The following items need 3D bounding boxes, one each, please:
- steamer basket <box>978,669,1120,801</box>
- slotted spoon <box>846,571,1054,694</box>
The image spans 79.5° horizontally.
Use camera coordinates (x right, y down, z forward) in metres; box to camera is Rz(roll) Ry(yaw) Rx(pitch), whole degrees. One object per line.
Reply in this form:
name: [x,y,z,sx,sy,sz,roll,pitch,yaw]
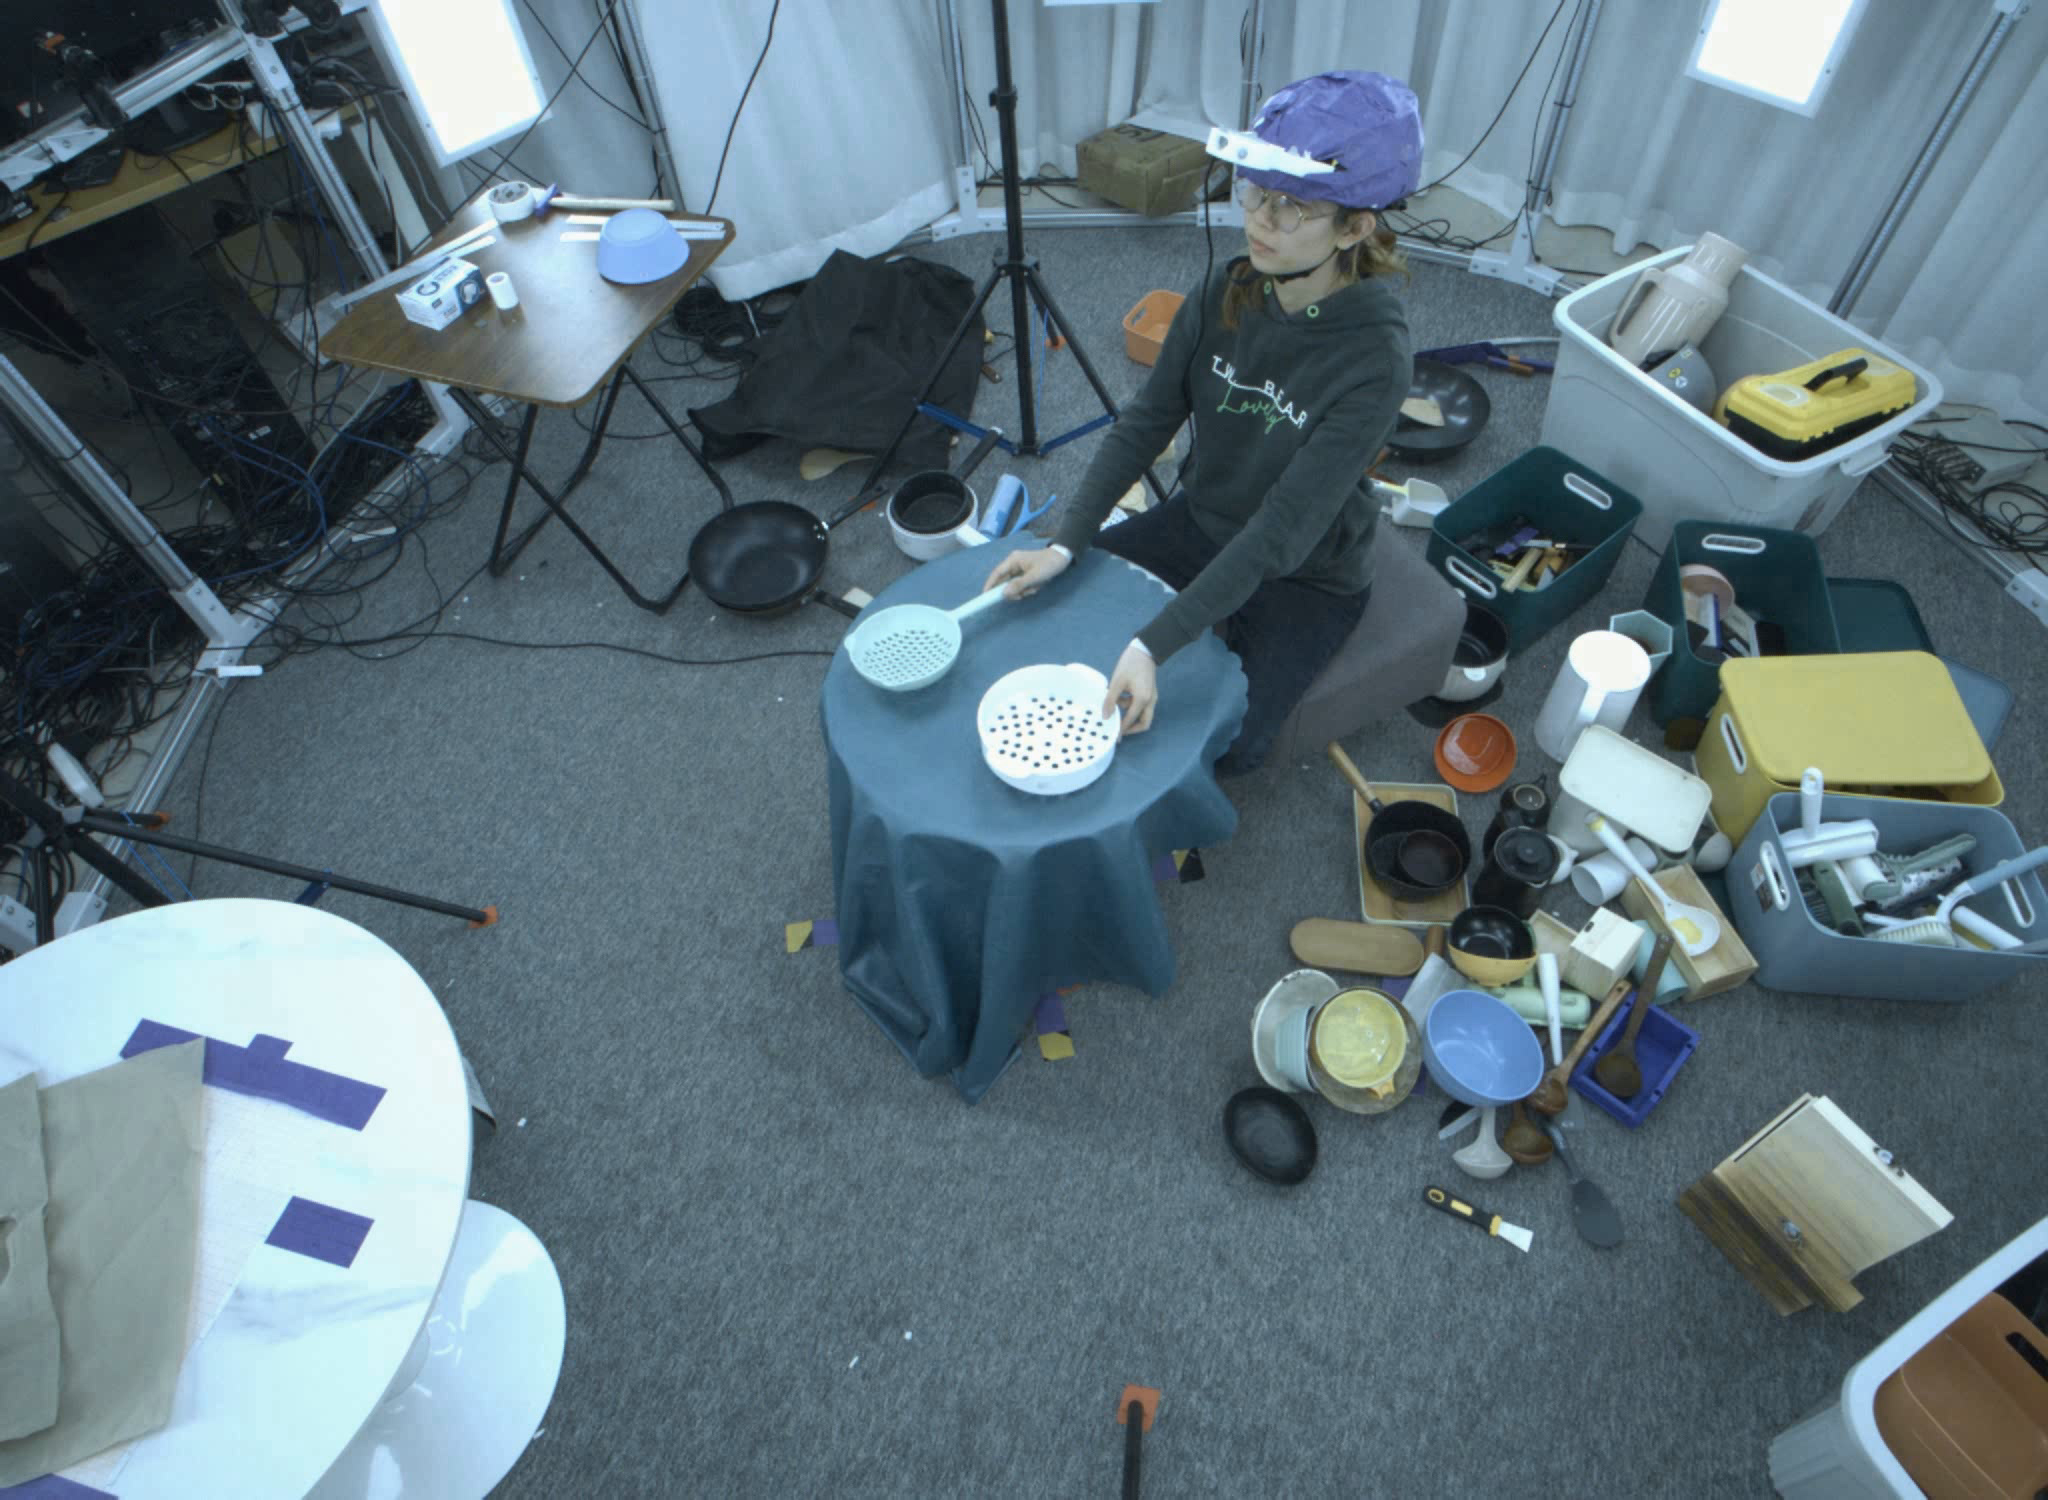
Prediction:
steamer basket: [0.035,-0.019,1.765,0.199,0.070,0.231,29,57,17]
slotted spoon: [-0.100,-0.198,1.890,0.361,0.076,0.166,-37,57,-16]
